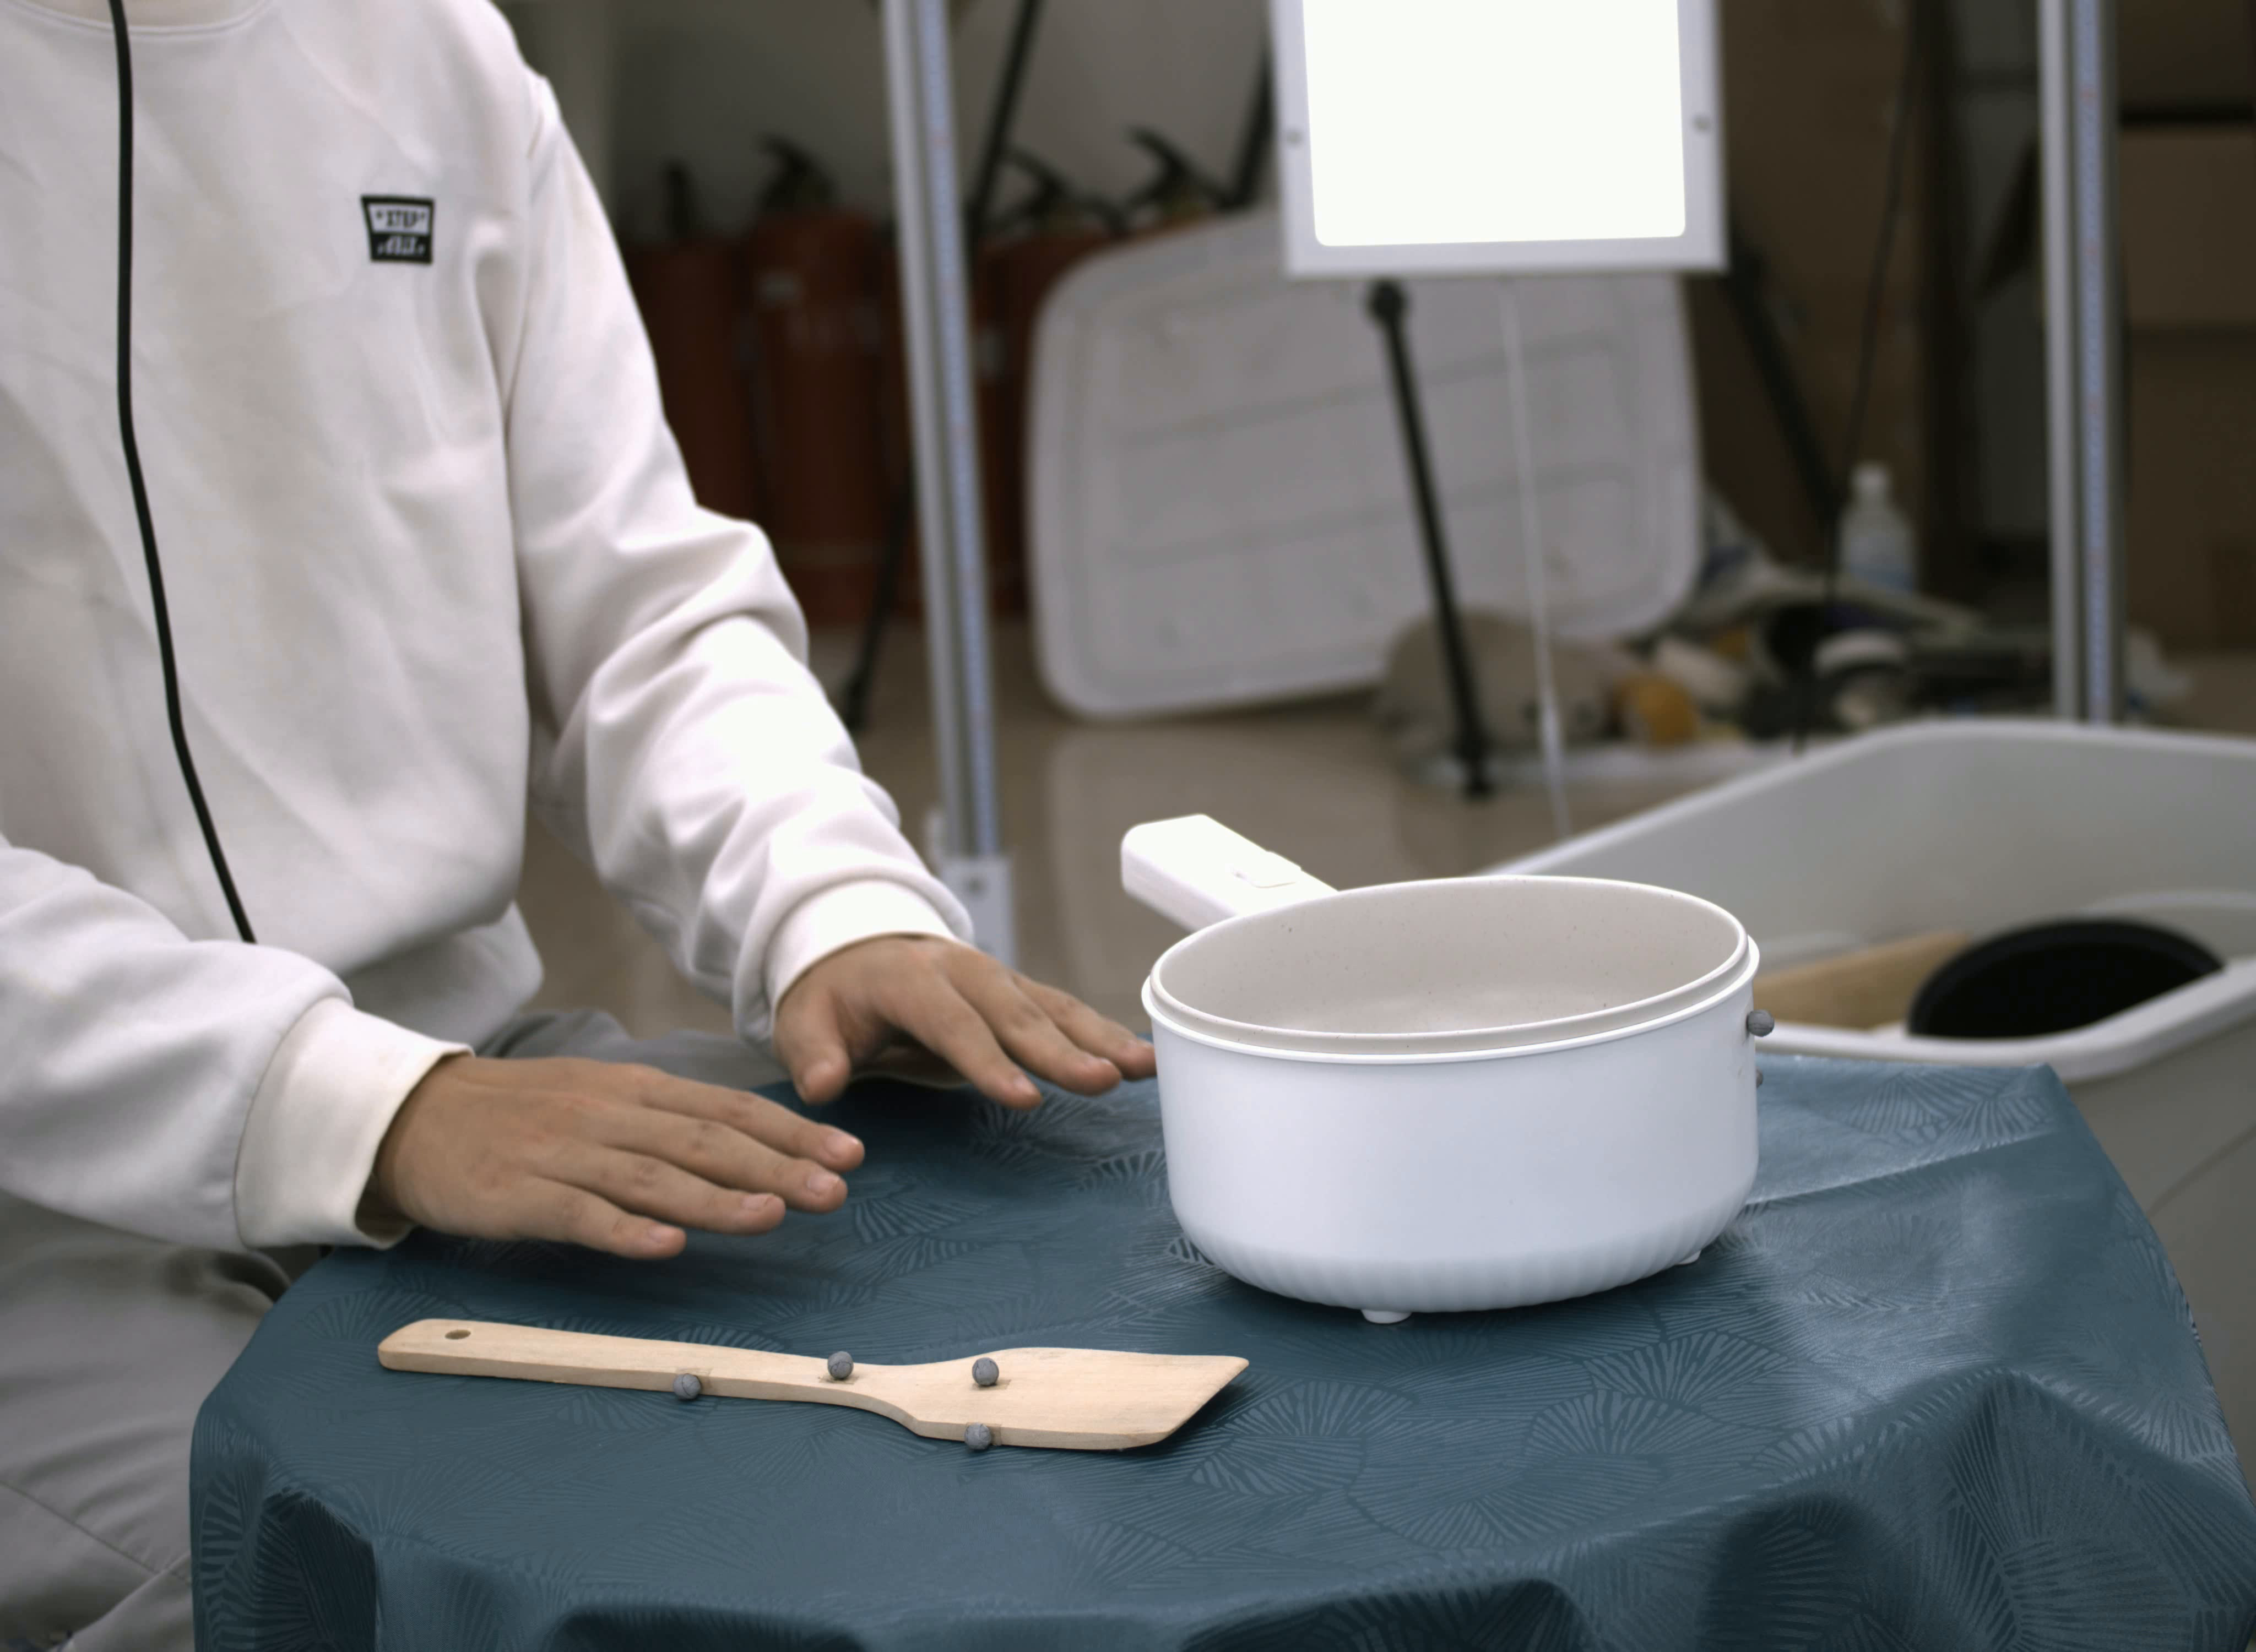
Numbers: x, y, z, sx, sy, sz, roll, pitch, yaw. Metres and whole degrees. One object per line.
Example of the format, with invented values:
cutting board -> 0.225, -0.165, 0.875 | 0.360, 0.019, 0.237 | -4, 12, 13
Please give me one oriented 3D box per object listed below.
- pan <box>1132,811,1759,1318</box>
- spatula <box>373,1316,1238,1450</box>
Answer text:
pan -> 0.081, 0.074, 1.868 | 0.198, 0.102, 0.359 | -10, 14, -18
spatula -> -0.110, 0.172, 1.732 | 0.298, 0.011, 0.071 | 2, 16, 26
